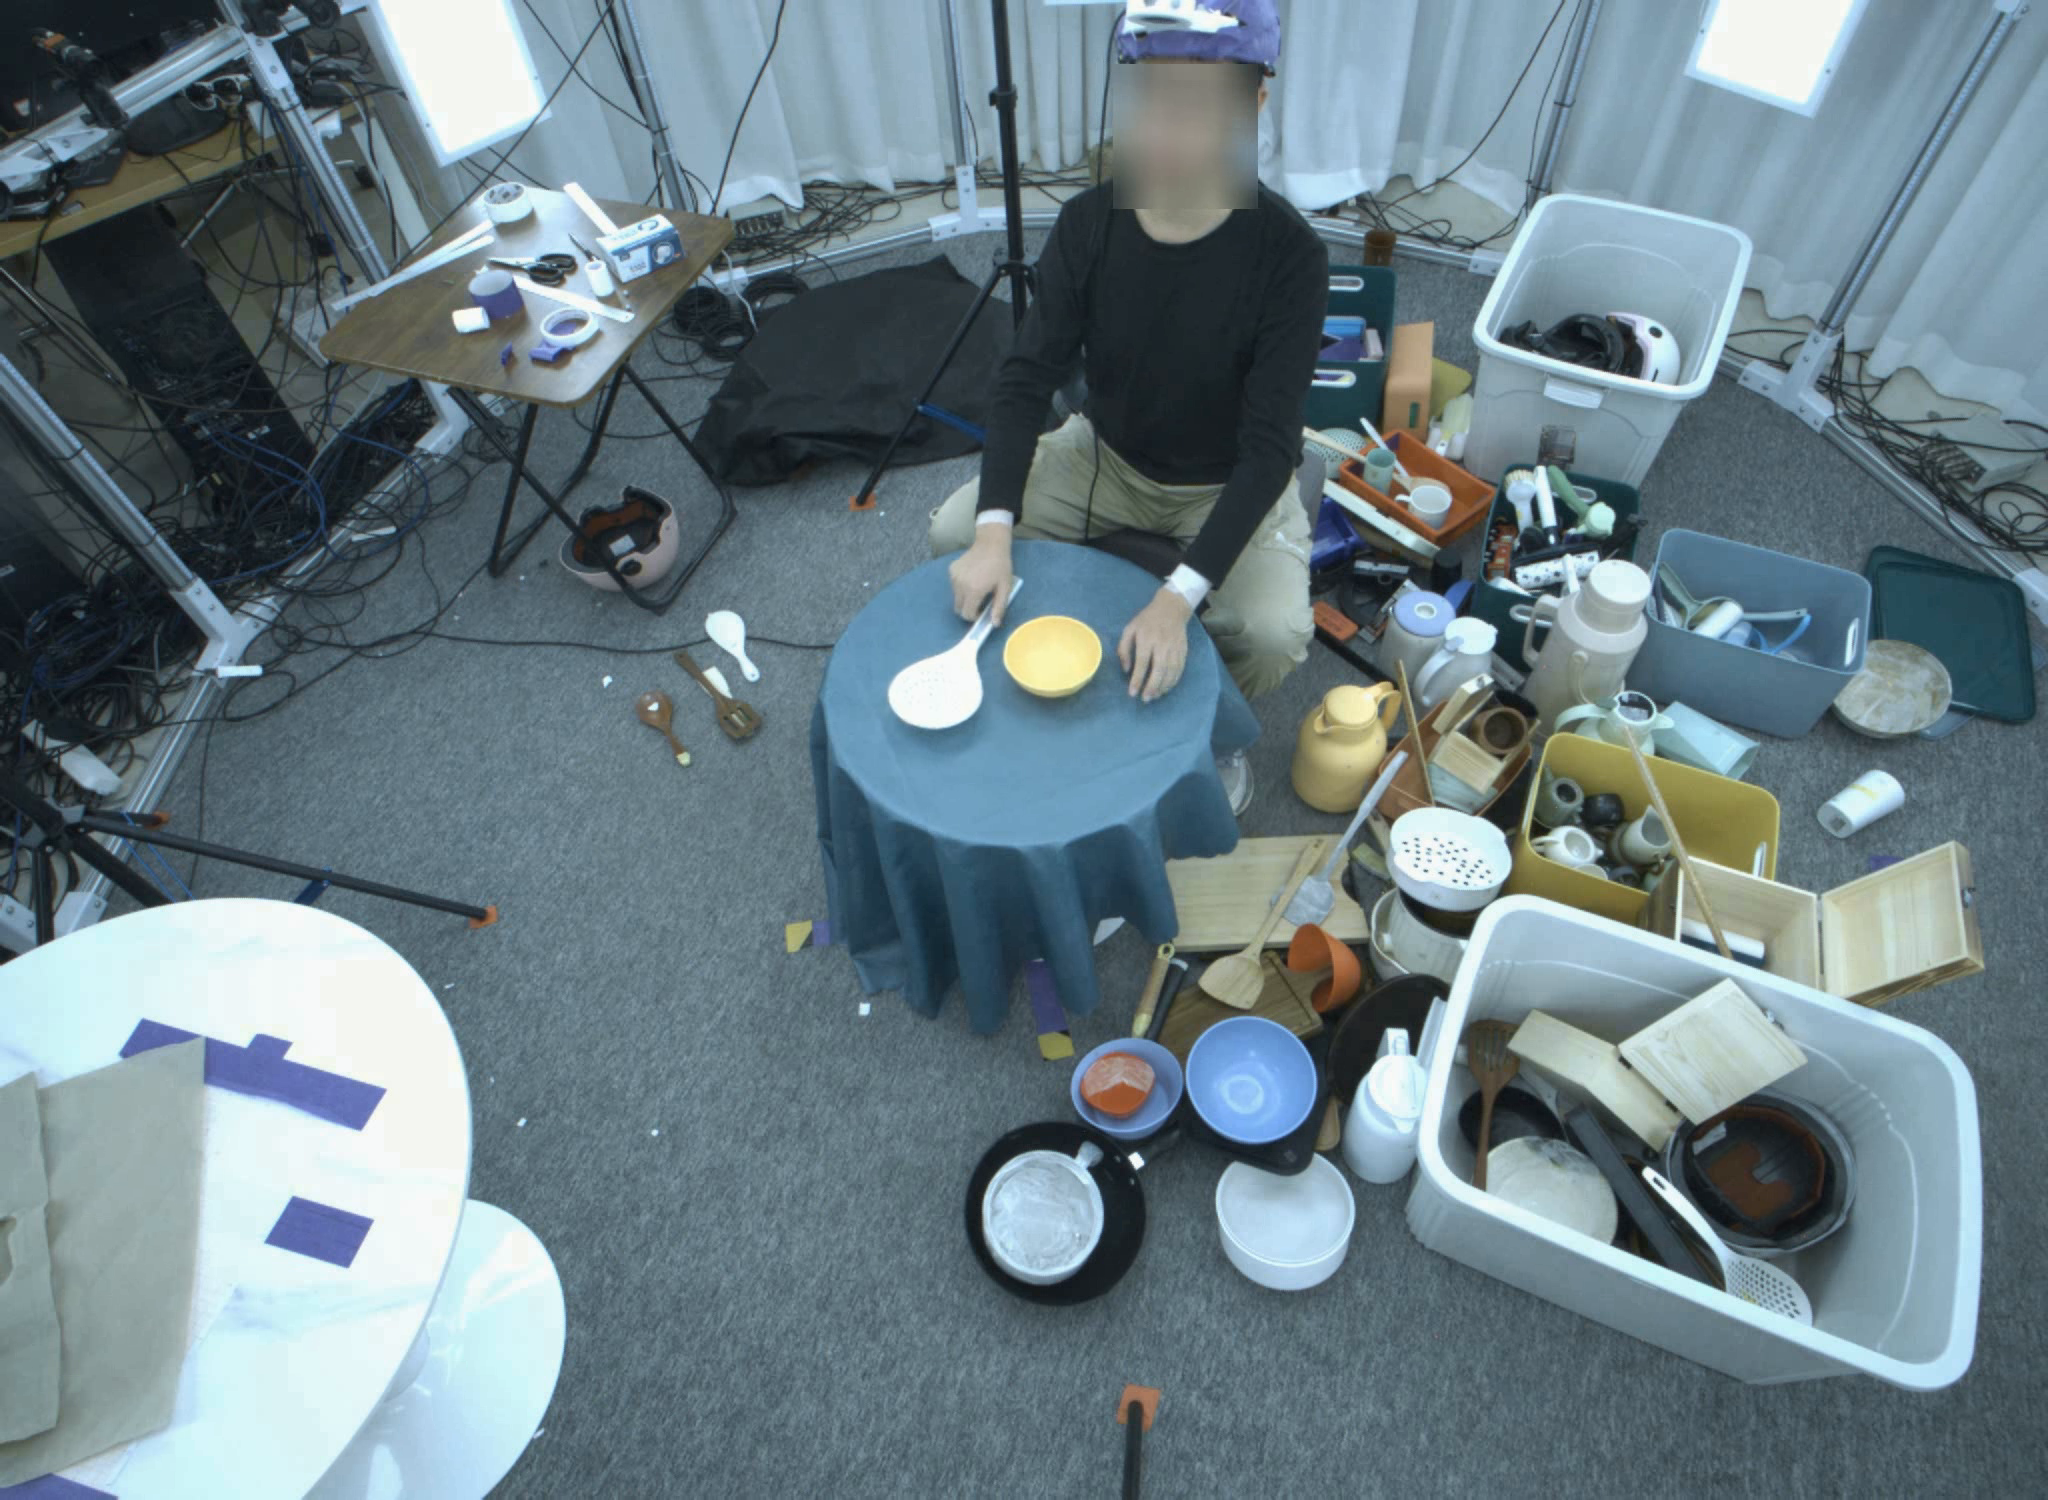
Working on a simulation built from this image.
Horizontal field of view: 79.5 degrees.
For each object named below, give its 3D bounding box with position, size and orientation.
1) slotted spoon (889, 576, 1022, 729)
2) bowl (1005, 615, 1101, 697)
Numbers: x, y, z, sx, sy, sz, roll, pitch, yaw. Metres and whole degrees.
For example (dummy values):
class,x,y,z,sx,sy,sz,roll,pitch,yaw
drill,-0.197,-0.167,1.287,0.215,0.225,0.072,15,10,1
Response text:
class,x,y,z,sx,sy,sz,roll,pitch,yaw
slotted spoon,-0.087,-0.154,1.871,0.134,0.046,0.350,20,57,14
bowl,0.044,-0.129,1.844,0.145,0.061,0.144,0,57,1
